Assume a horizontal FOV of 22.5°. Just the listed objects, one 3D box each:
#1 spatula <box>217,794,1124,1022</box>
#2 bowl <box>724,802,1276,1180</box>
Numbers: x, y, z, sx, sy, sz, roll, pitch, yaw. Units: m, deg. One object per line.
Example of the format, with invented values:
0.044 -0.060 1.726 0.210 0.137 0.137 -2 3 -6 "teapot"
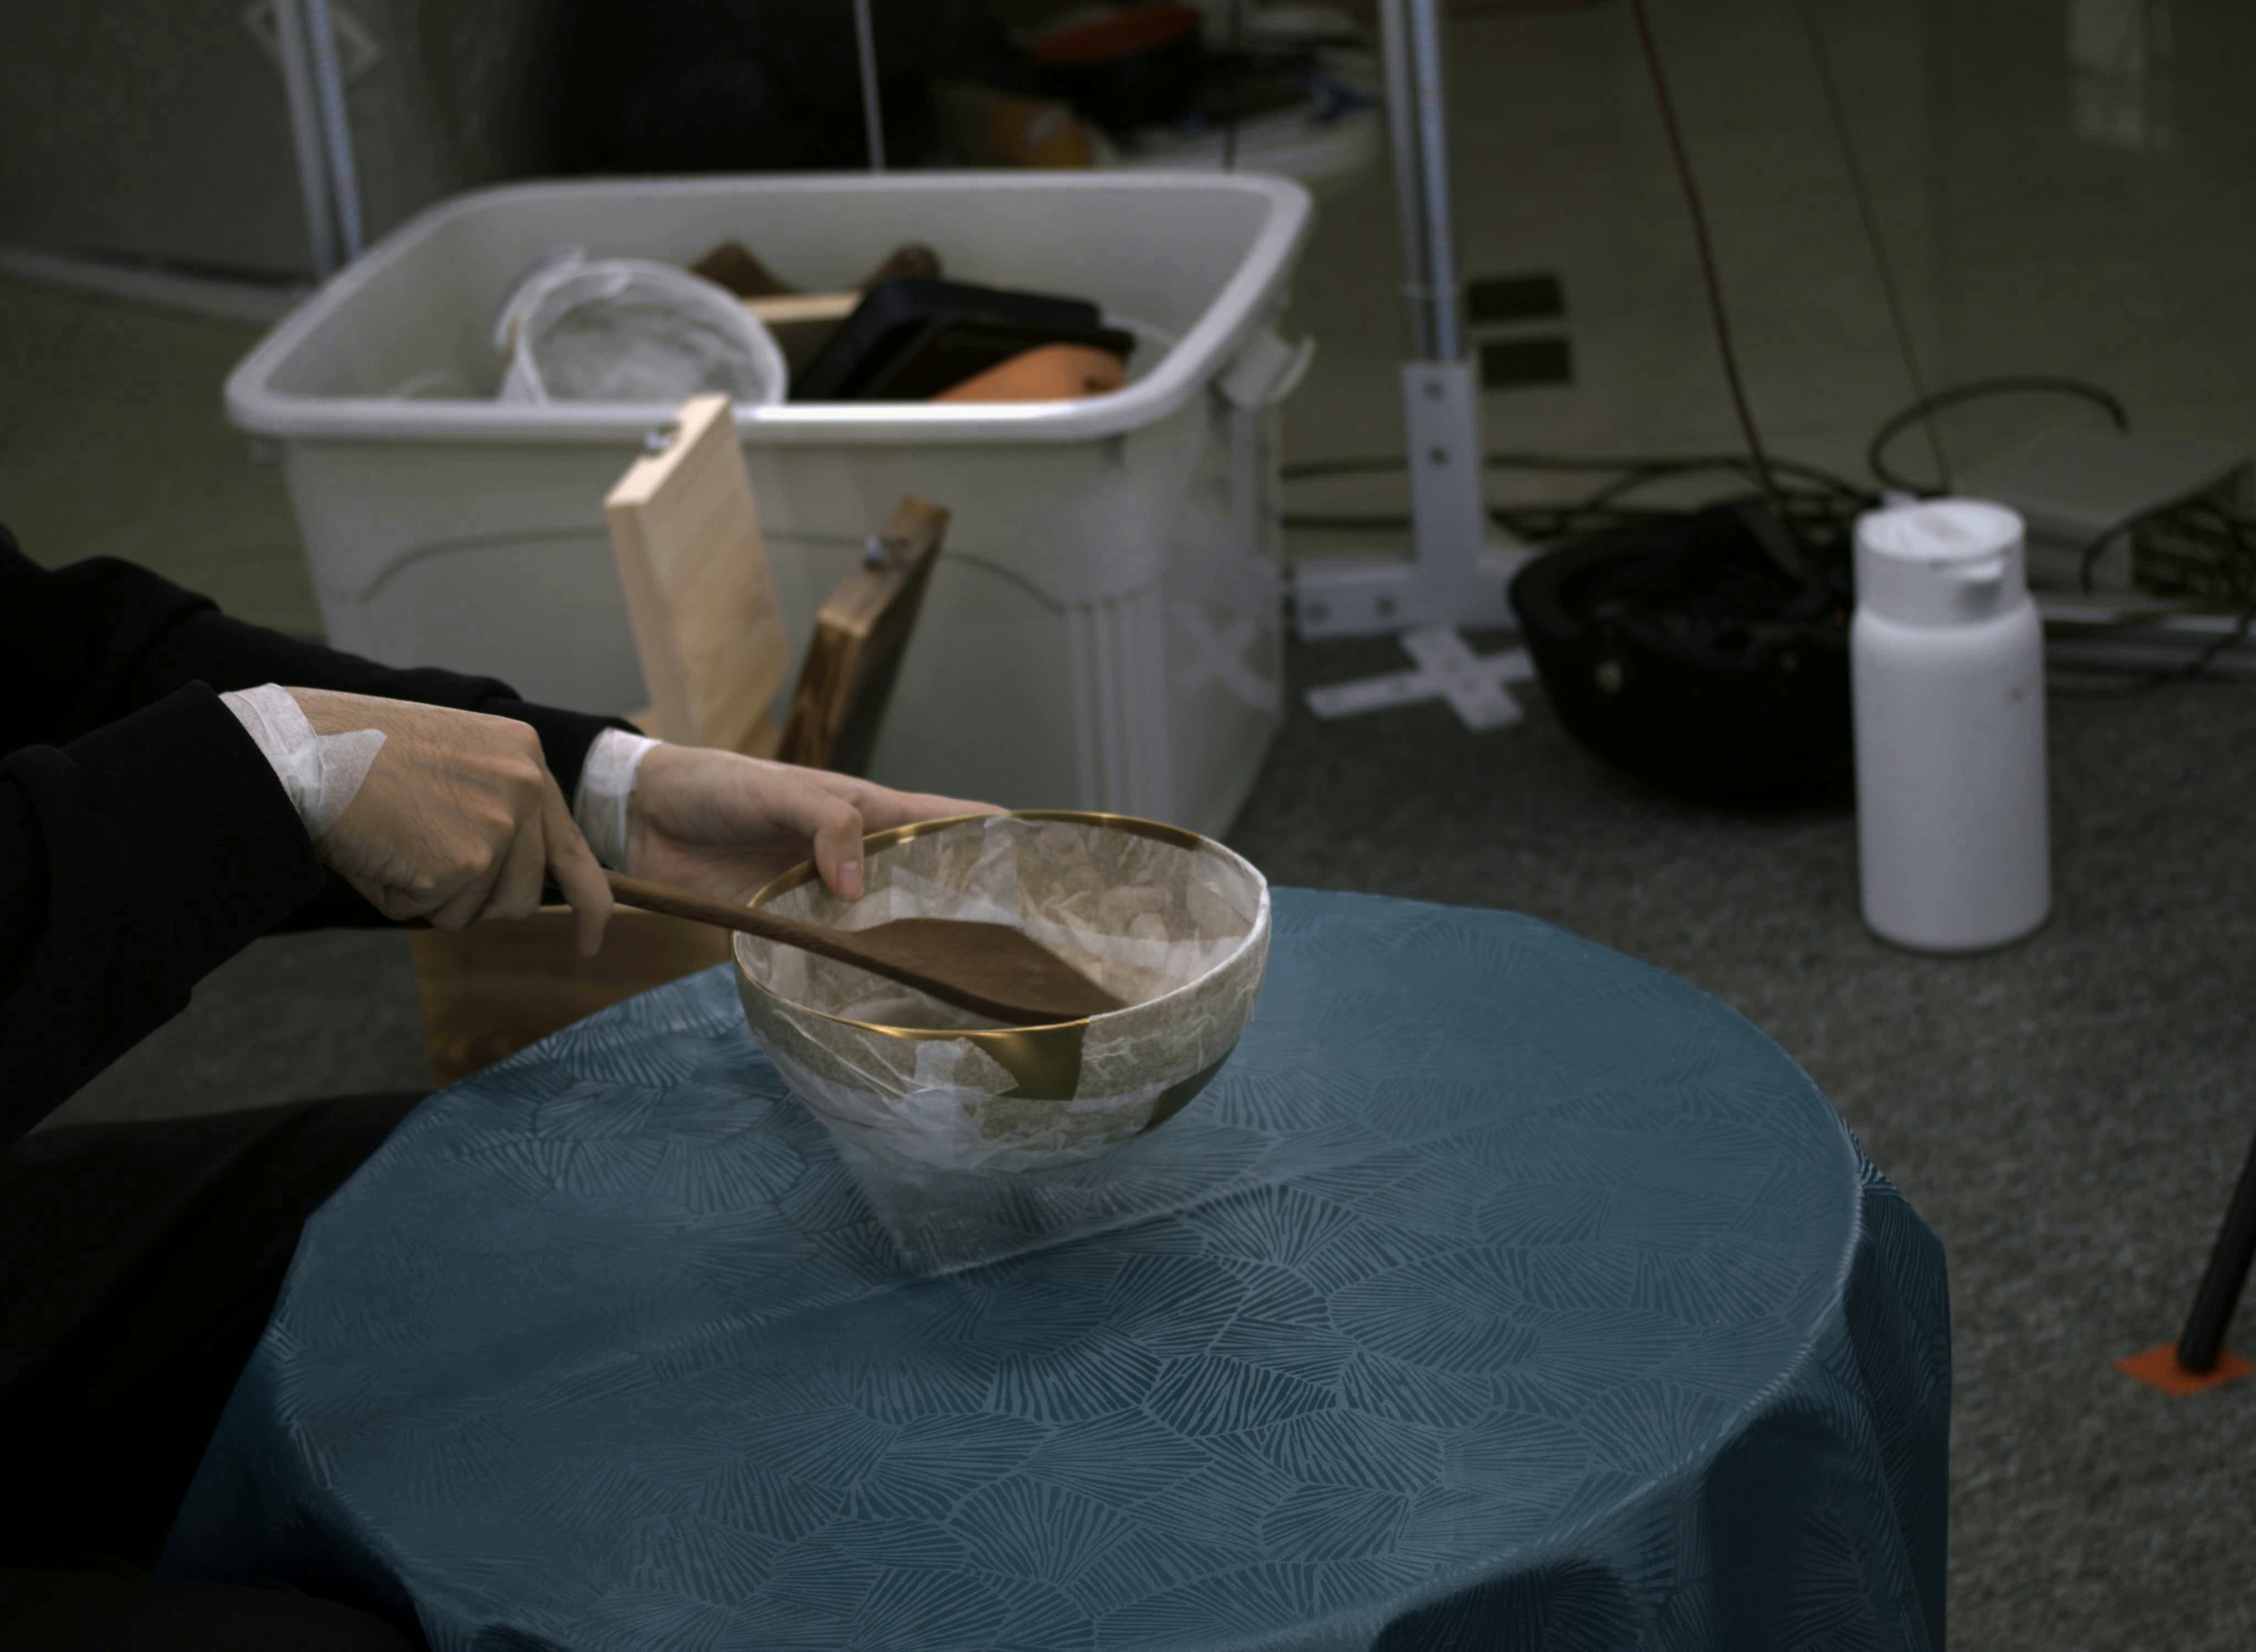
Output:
-0.160 0.028 2.062 0.387 0.016 0.095 13 15 -37 "spatula"
-0.046 0.073 2.127 0.214 0.096 0.211 -5 25 2 "bowl"
